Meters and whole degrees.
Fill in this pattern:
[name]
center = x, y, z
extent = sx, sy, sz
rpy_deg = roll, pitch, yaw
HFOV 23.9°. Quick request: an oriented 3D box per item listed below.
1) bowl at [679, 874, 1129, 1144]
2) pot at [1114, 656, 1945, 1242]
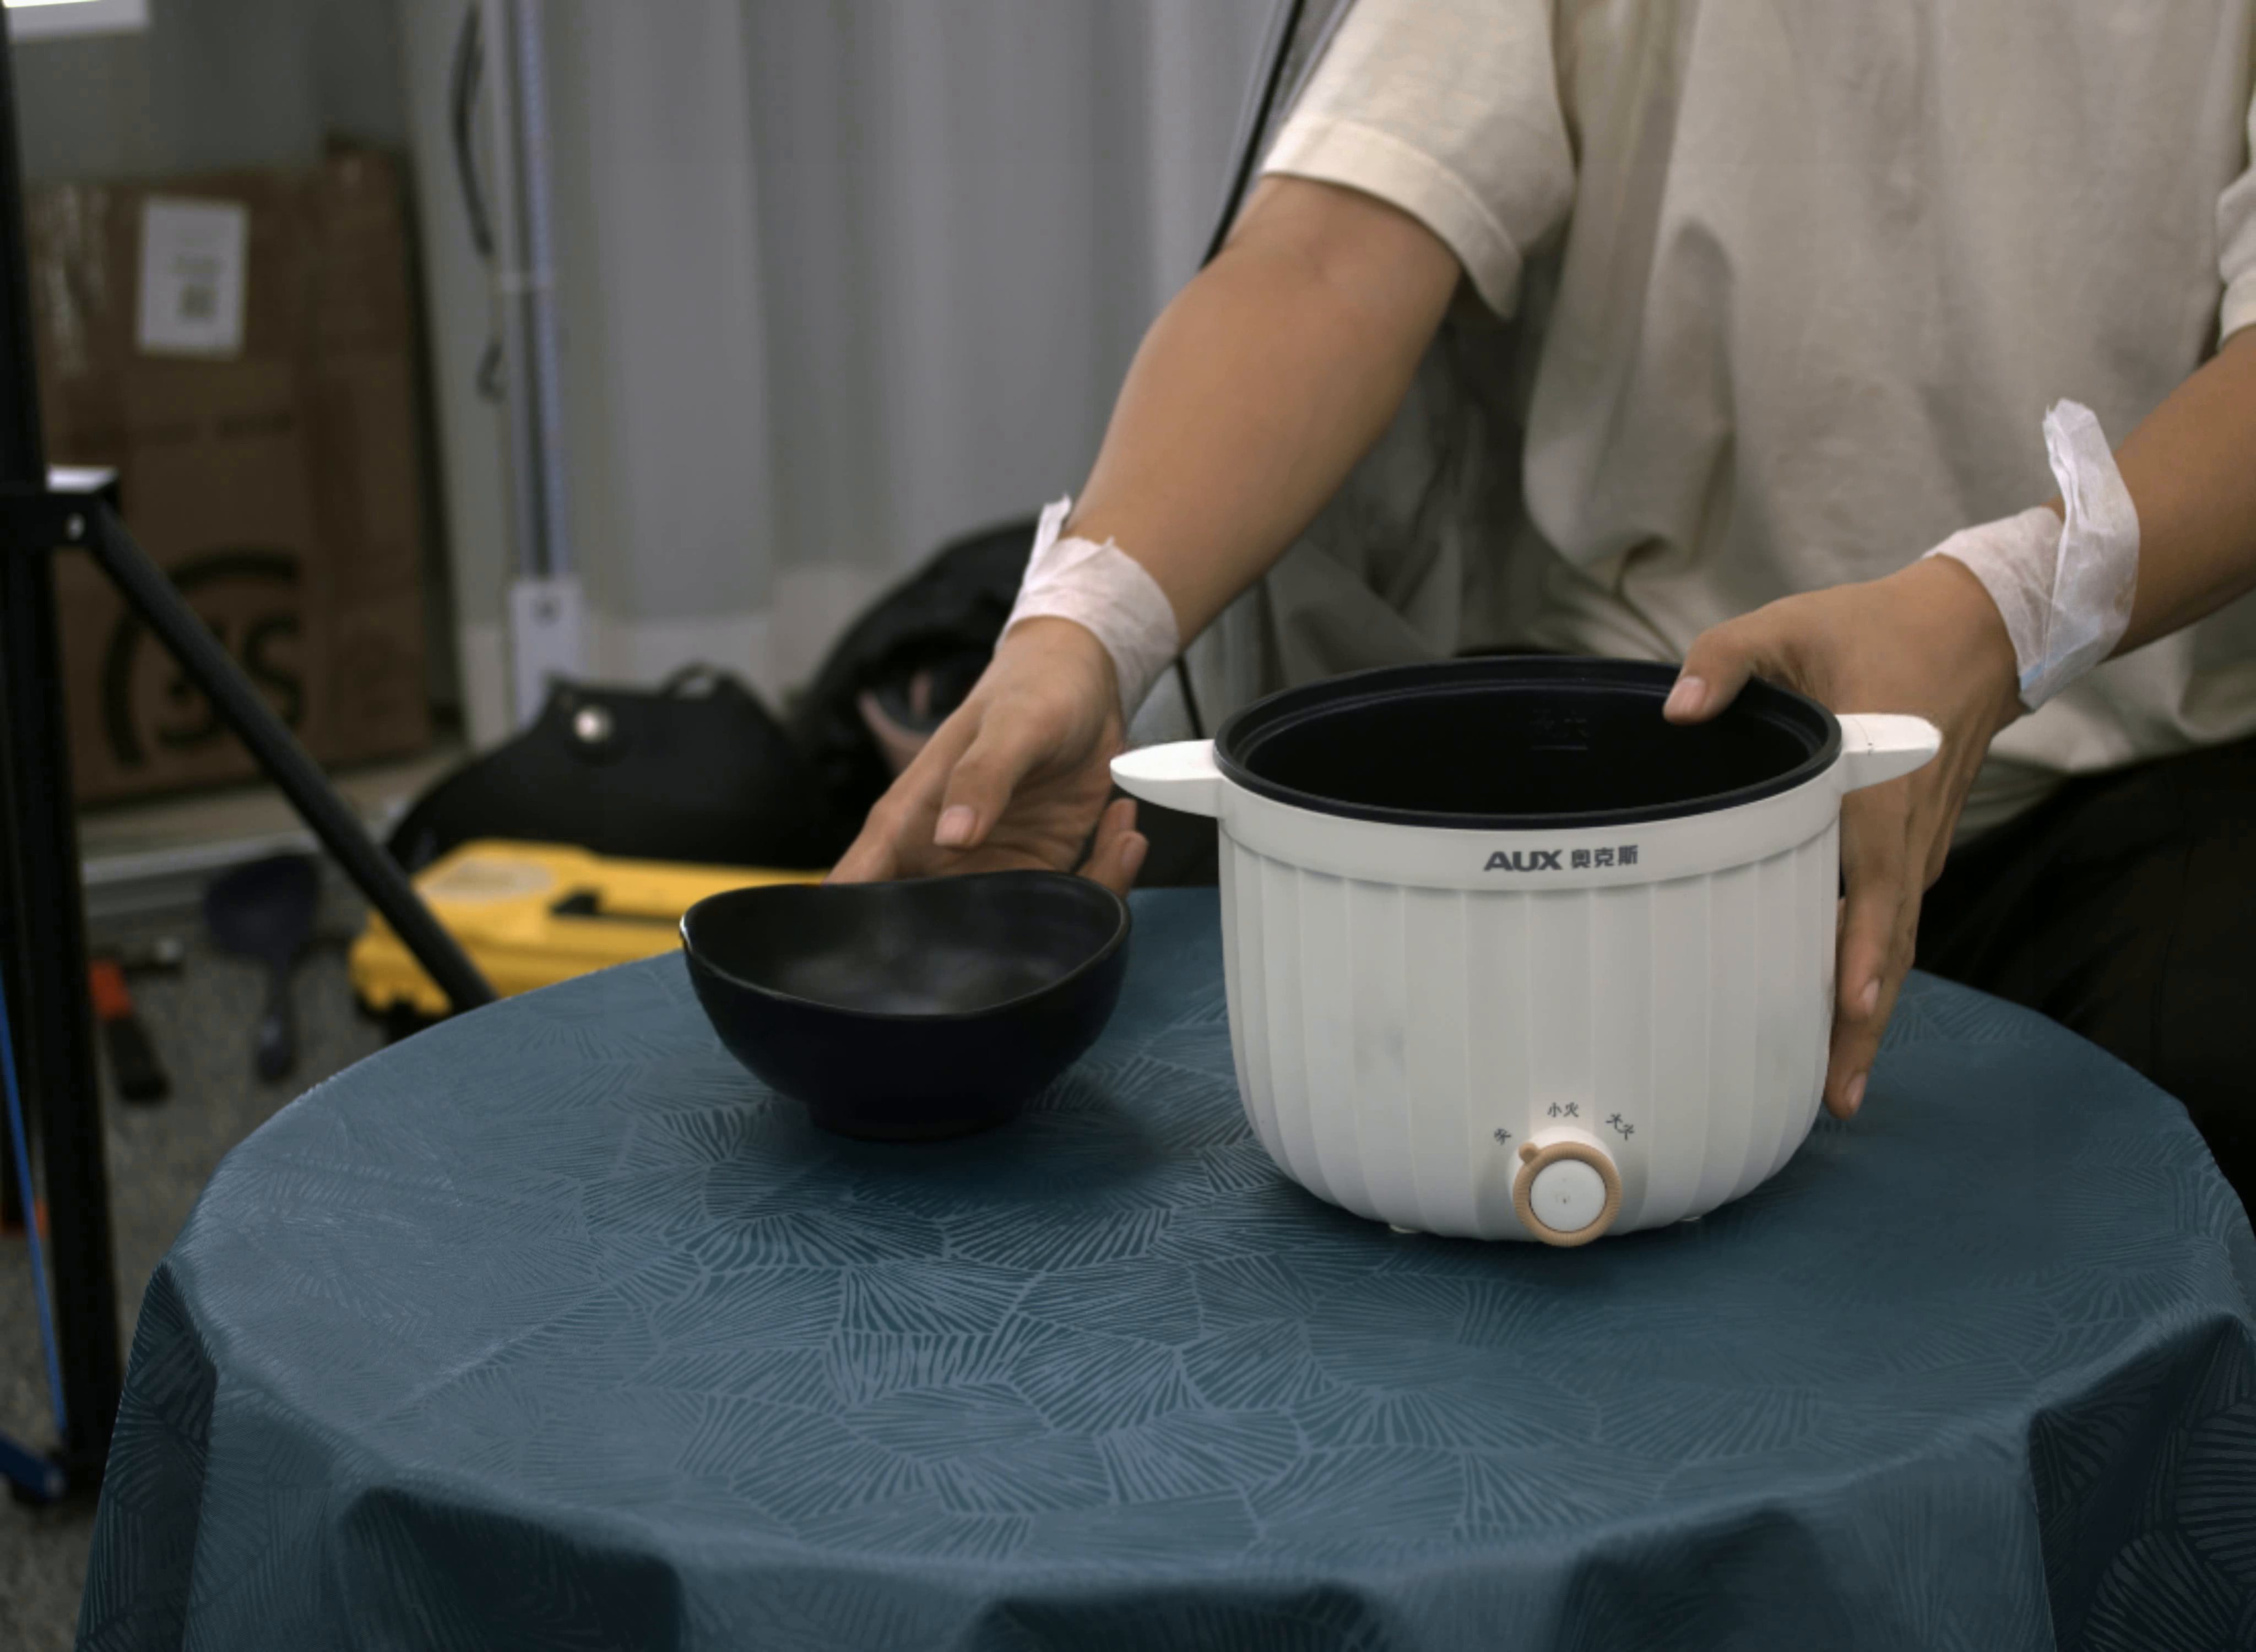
[bowl]
center = -0.068, 0.057, 1.630
extent = 0.136, 0.067, 0.172
rpy_deg = -3, 15, -8
[pot]
center = 0.118, 0.038, 1.531
extent = 0.239, 0.143, 0.191
rpy_deg = -3, 12, 0
